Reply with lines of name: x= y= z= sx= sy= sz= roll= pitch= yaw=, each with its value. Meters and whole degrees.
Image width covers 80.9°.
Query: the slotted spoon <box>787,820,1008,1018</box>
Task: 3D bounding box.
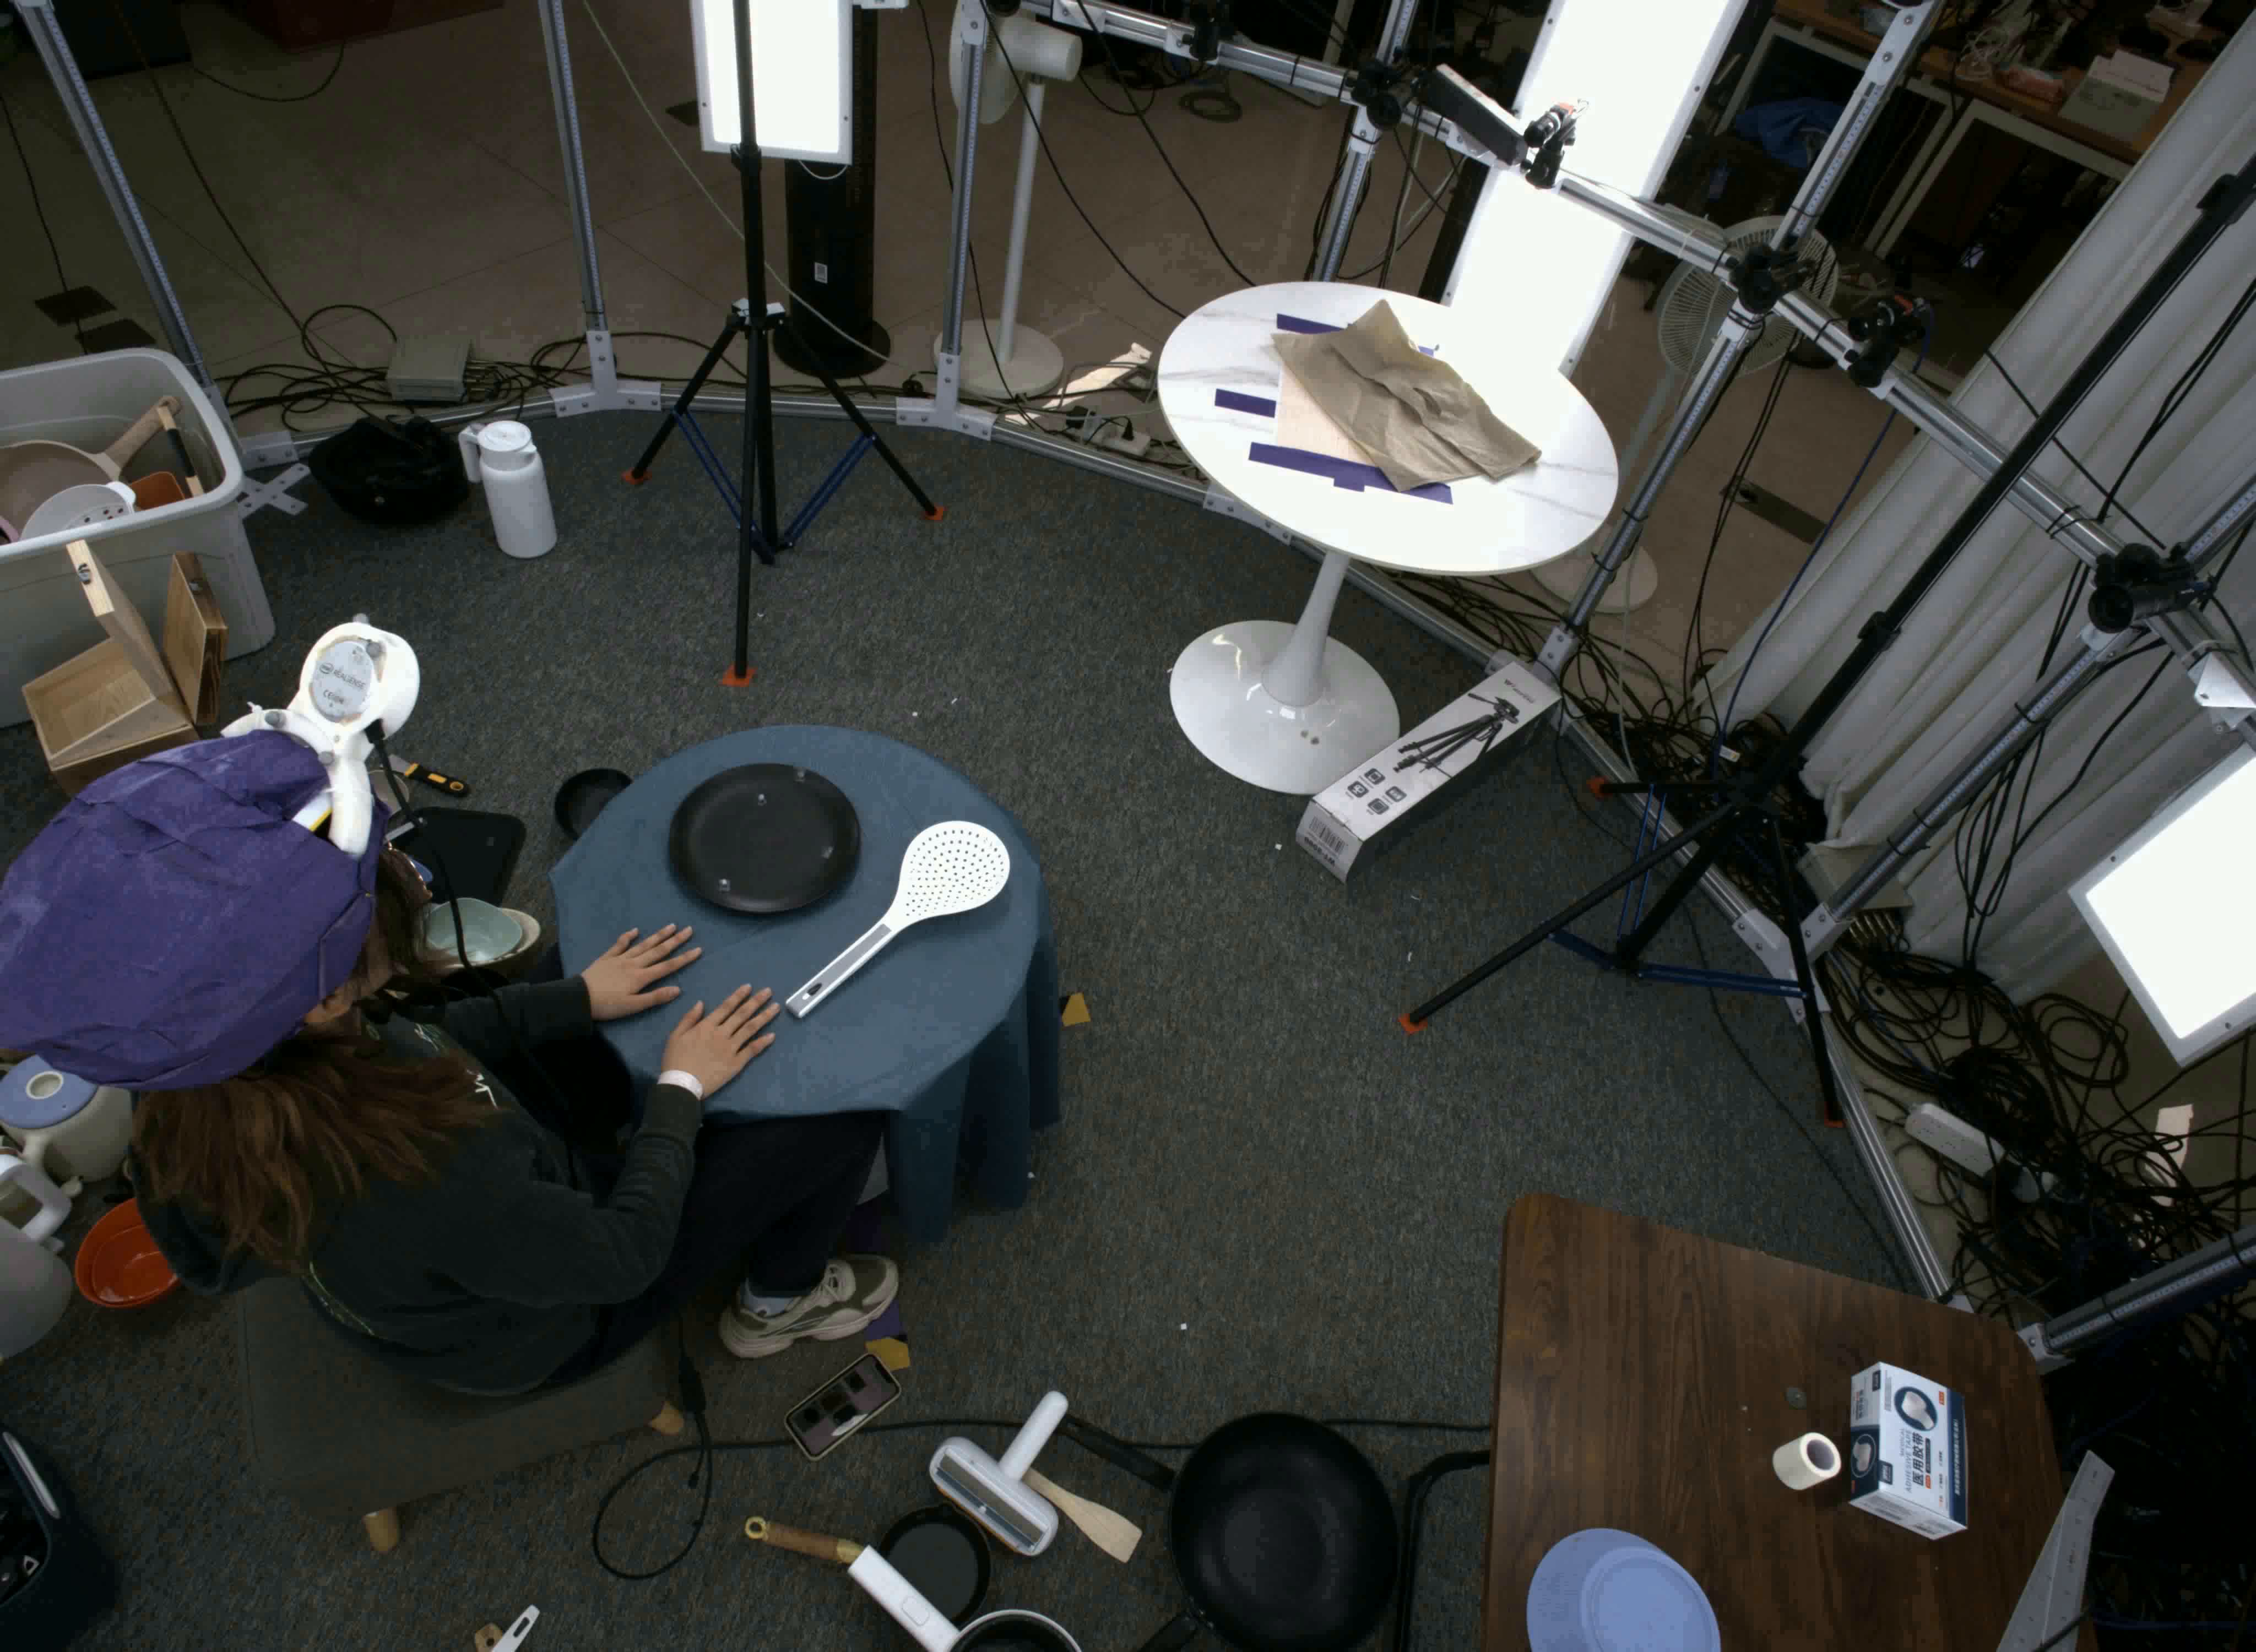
slotted spoon: x=-0.292 y=0.117 z=1.647 sx=0.133 sy=0.047 sz=0.350 roll=37 pitch=55 yaw=17

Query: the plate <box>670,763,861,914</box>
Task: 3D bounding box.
plate: x=-0.471 y=0.017 z=1.690 sx=0.244 sy=0.024 sz=0.240 roll=8 pitch=53 yaw=-9
